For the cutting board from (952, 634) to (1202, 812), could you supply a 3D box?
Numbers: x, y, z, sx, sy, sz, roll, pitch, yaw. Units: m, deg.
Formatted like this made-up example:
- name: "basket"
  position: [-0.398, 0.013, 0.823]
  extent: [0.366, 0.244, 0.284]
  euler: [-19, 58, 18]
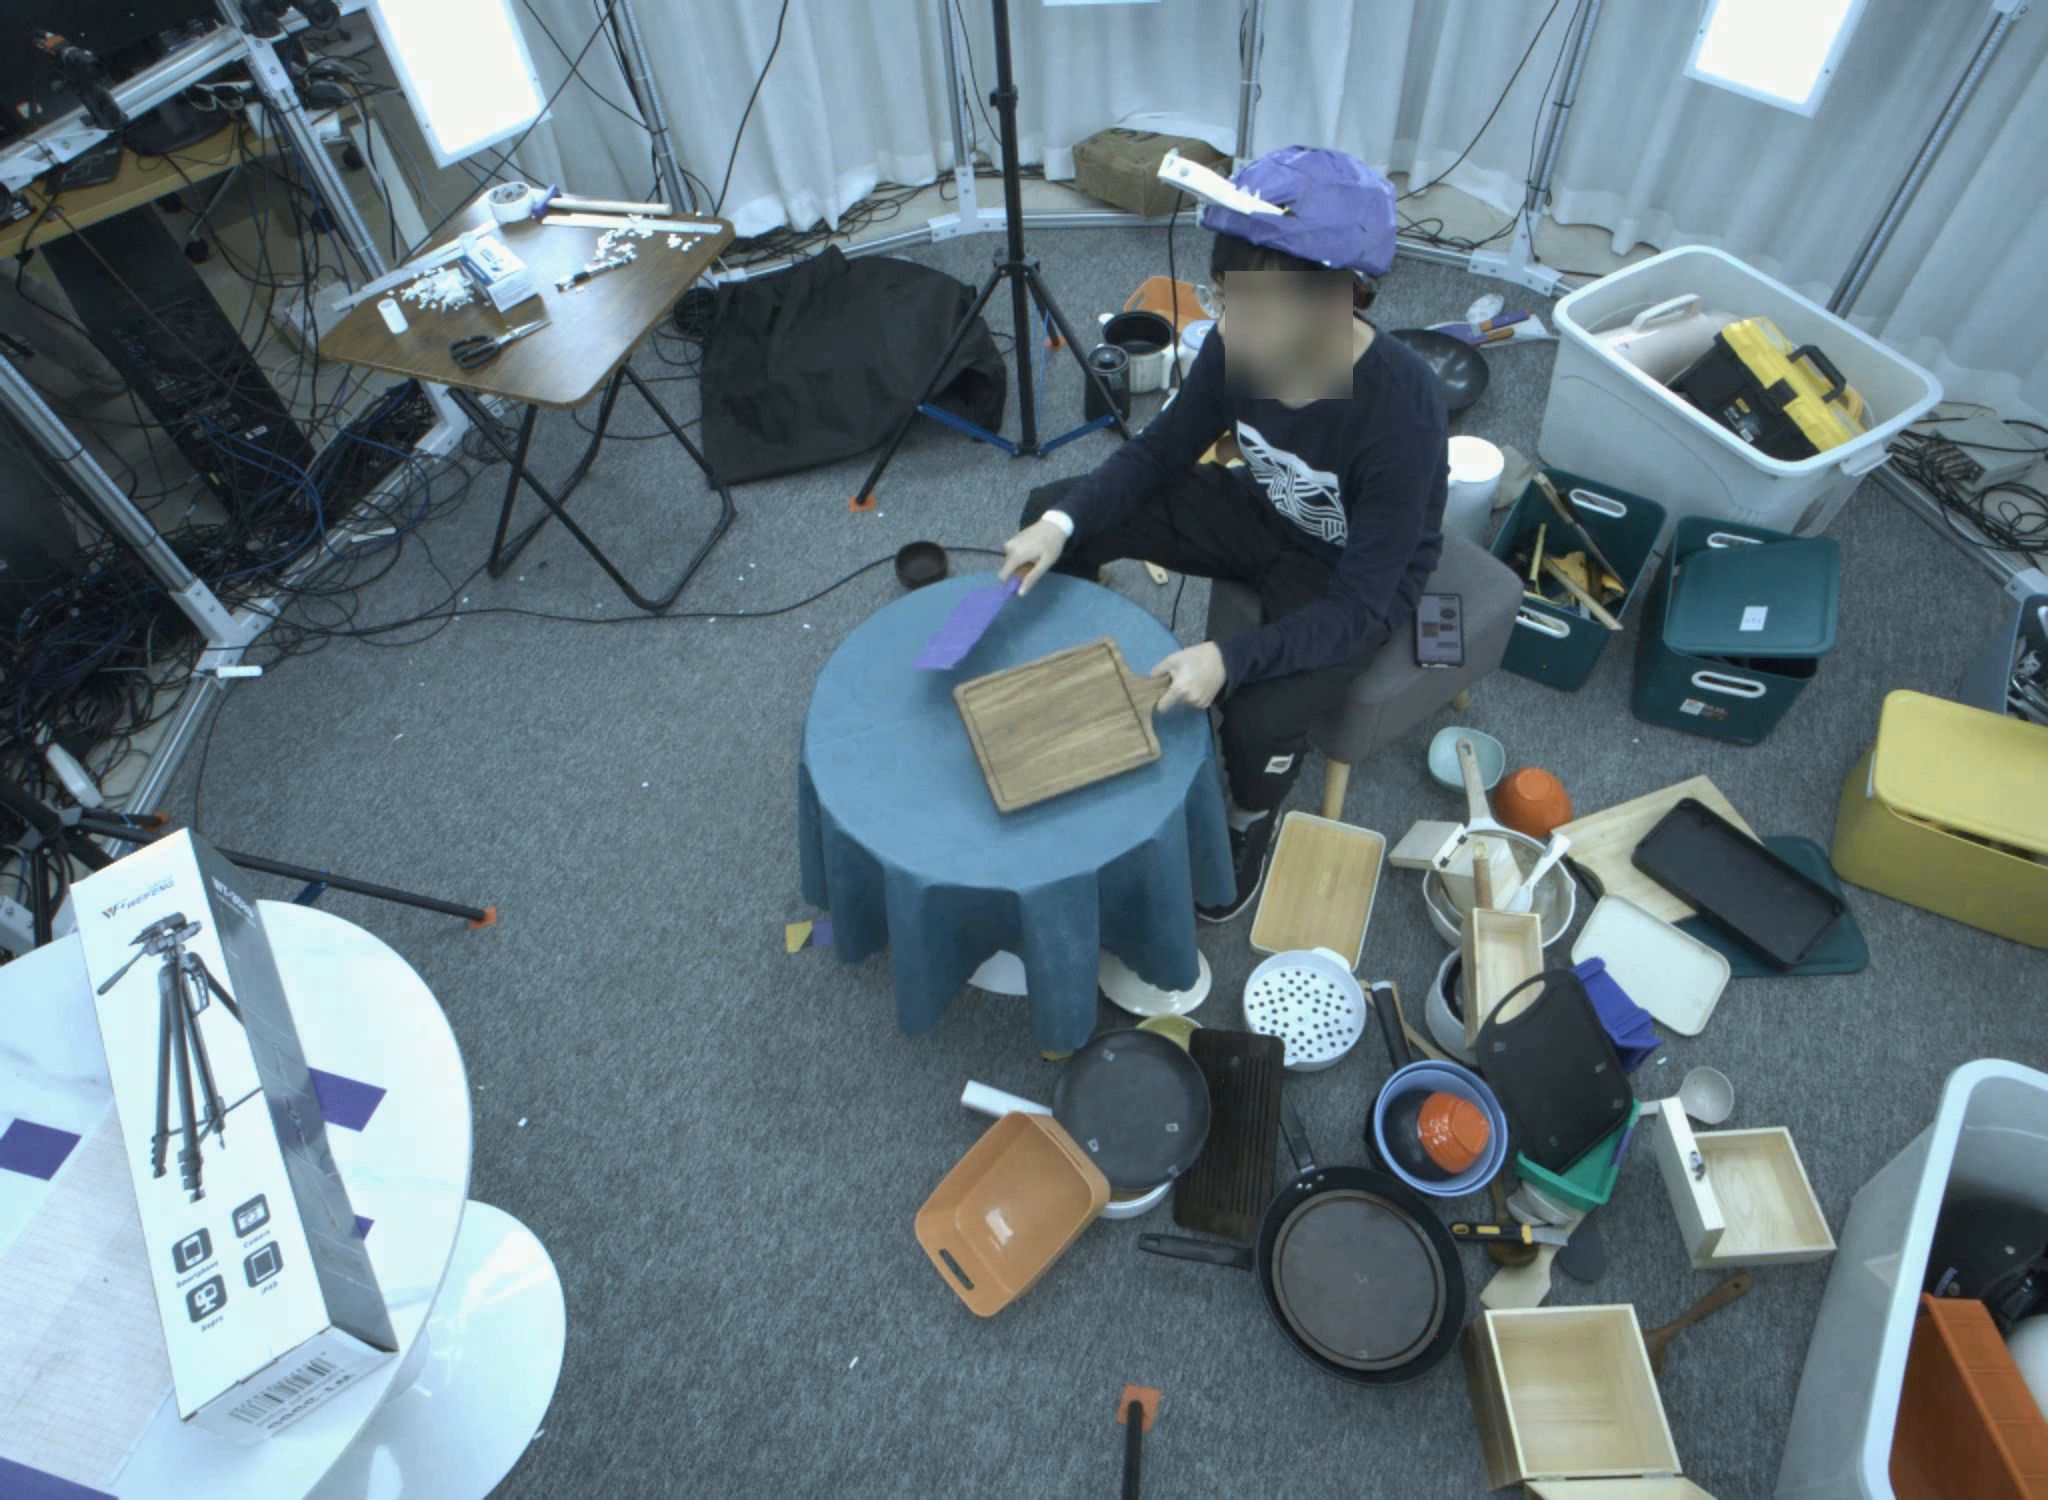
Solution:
- name: "cutting board"
  position: [0.093, -0.056, 1.760]
  extent: [0.355, 0.023, 0.199]
  euler: [-18, 79, -13]

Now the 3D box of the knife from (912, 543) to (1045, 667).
- name: "knife"
  position: [-0.072, -0.226, 1.882]
  extent: [0.102, 0.033, 0.316]
  euler: [4, 40, 31]
